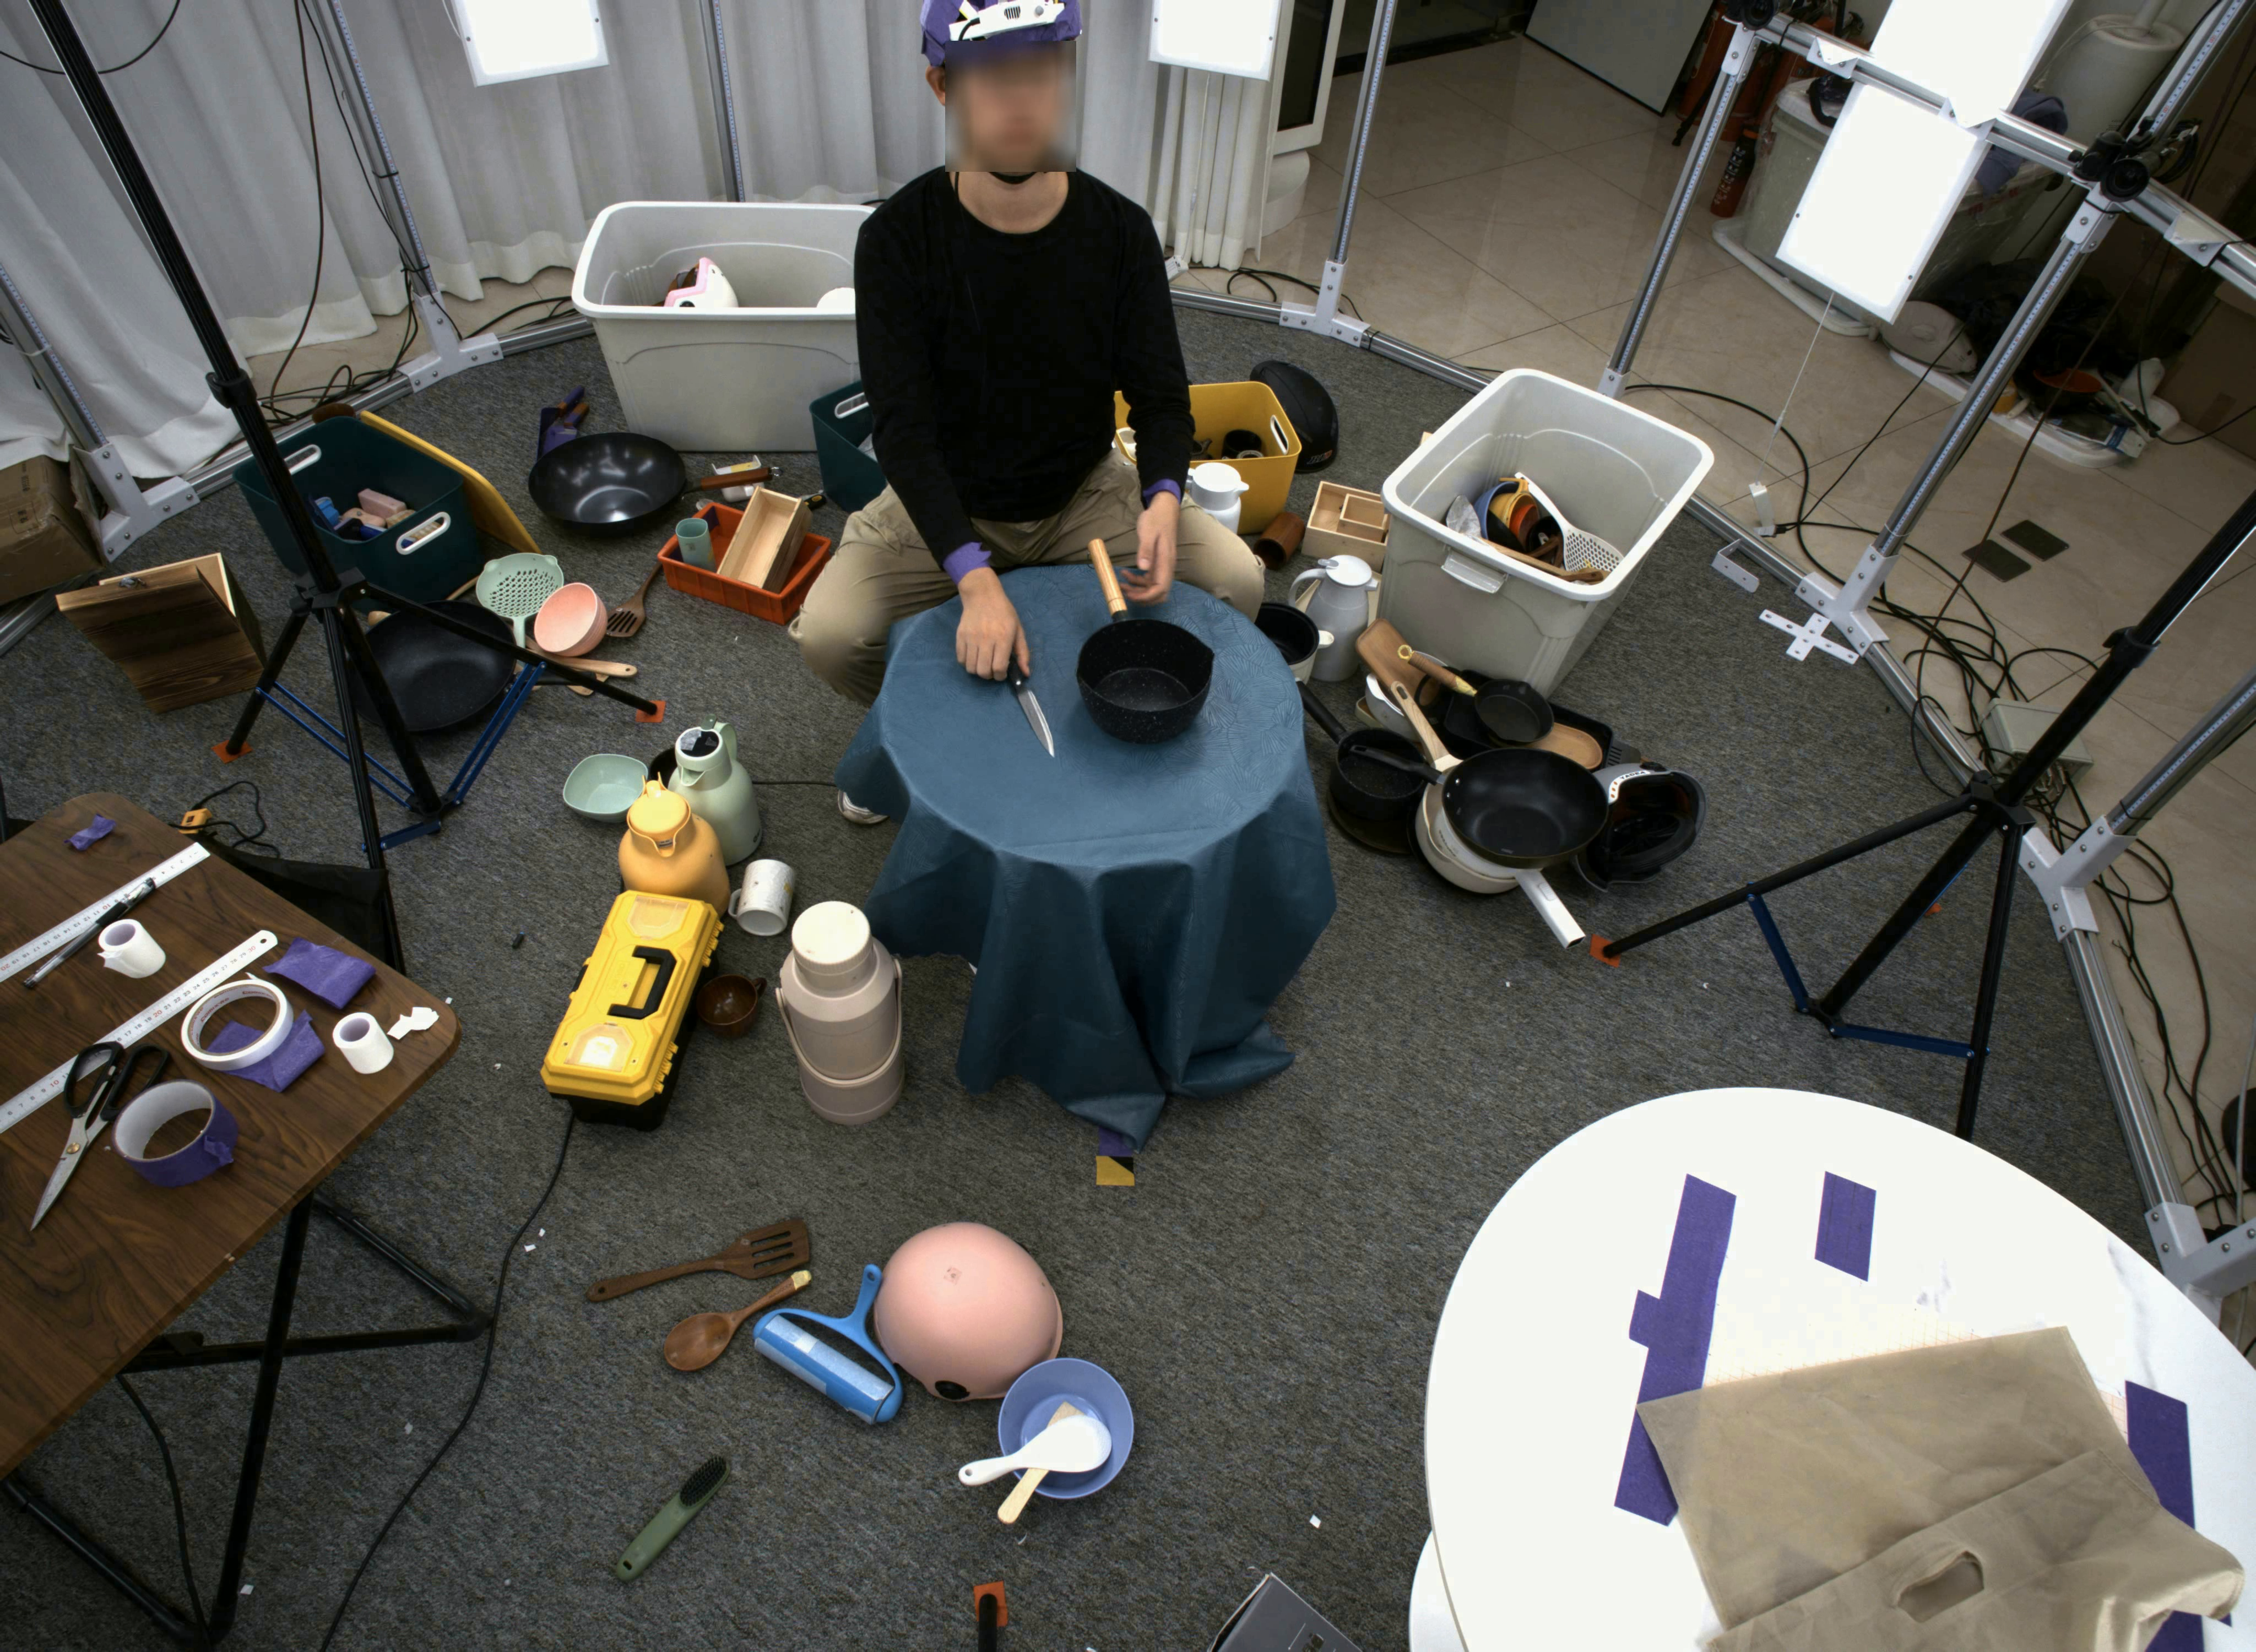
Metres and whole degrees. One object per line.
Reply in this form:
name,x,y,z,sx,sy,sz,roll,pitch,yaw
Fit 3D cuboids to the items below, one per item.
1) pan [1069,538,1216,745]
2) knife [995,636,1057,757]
pan,-0.002,-0.263,1.829,0.207,0.105,0.351,-12,52,-13
knife,-0.145,-0.183,1.812,0.024,0.016,0.243,-17,55,-14
